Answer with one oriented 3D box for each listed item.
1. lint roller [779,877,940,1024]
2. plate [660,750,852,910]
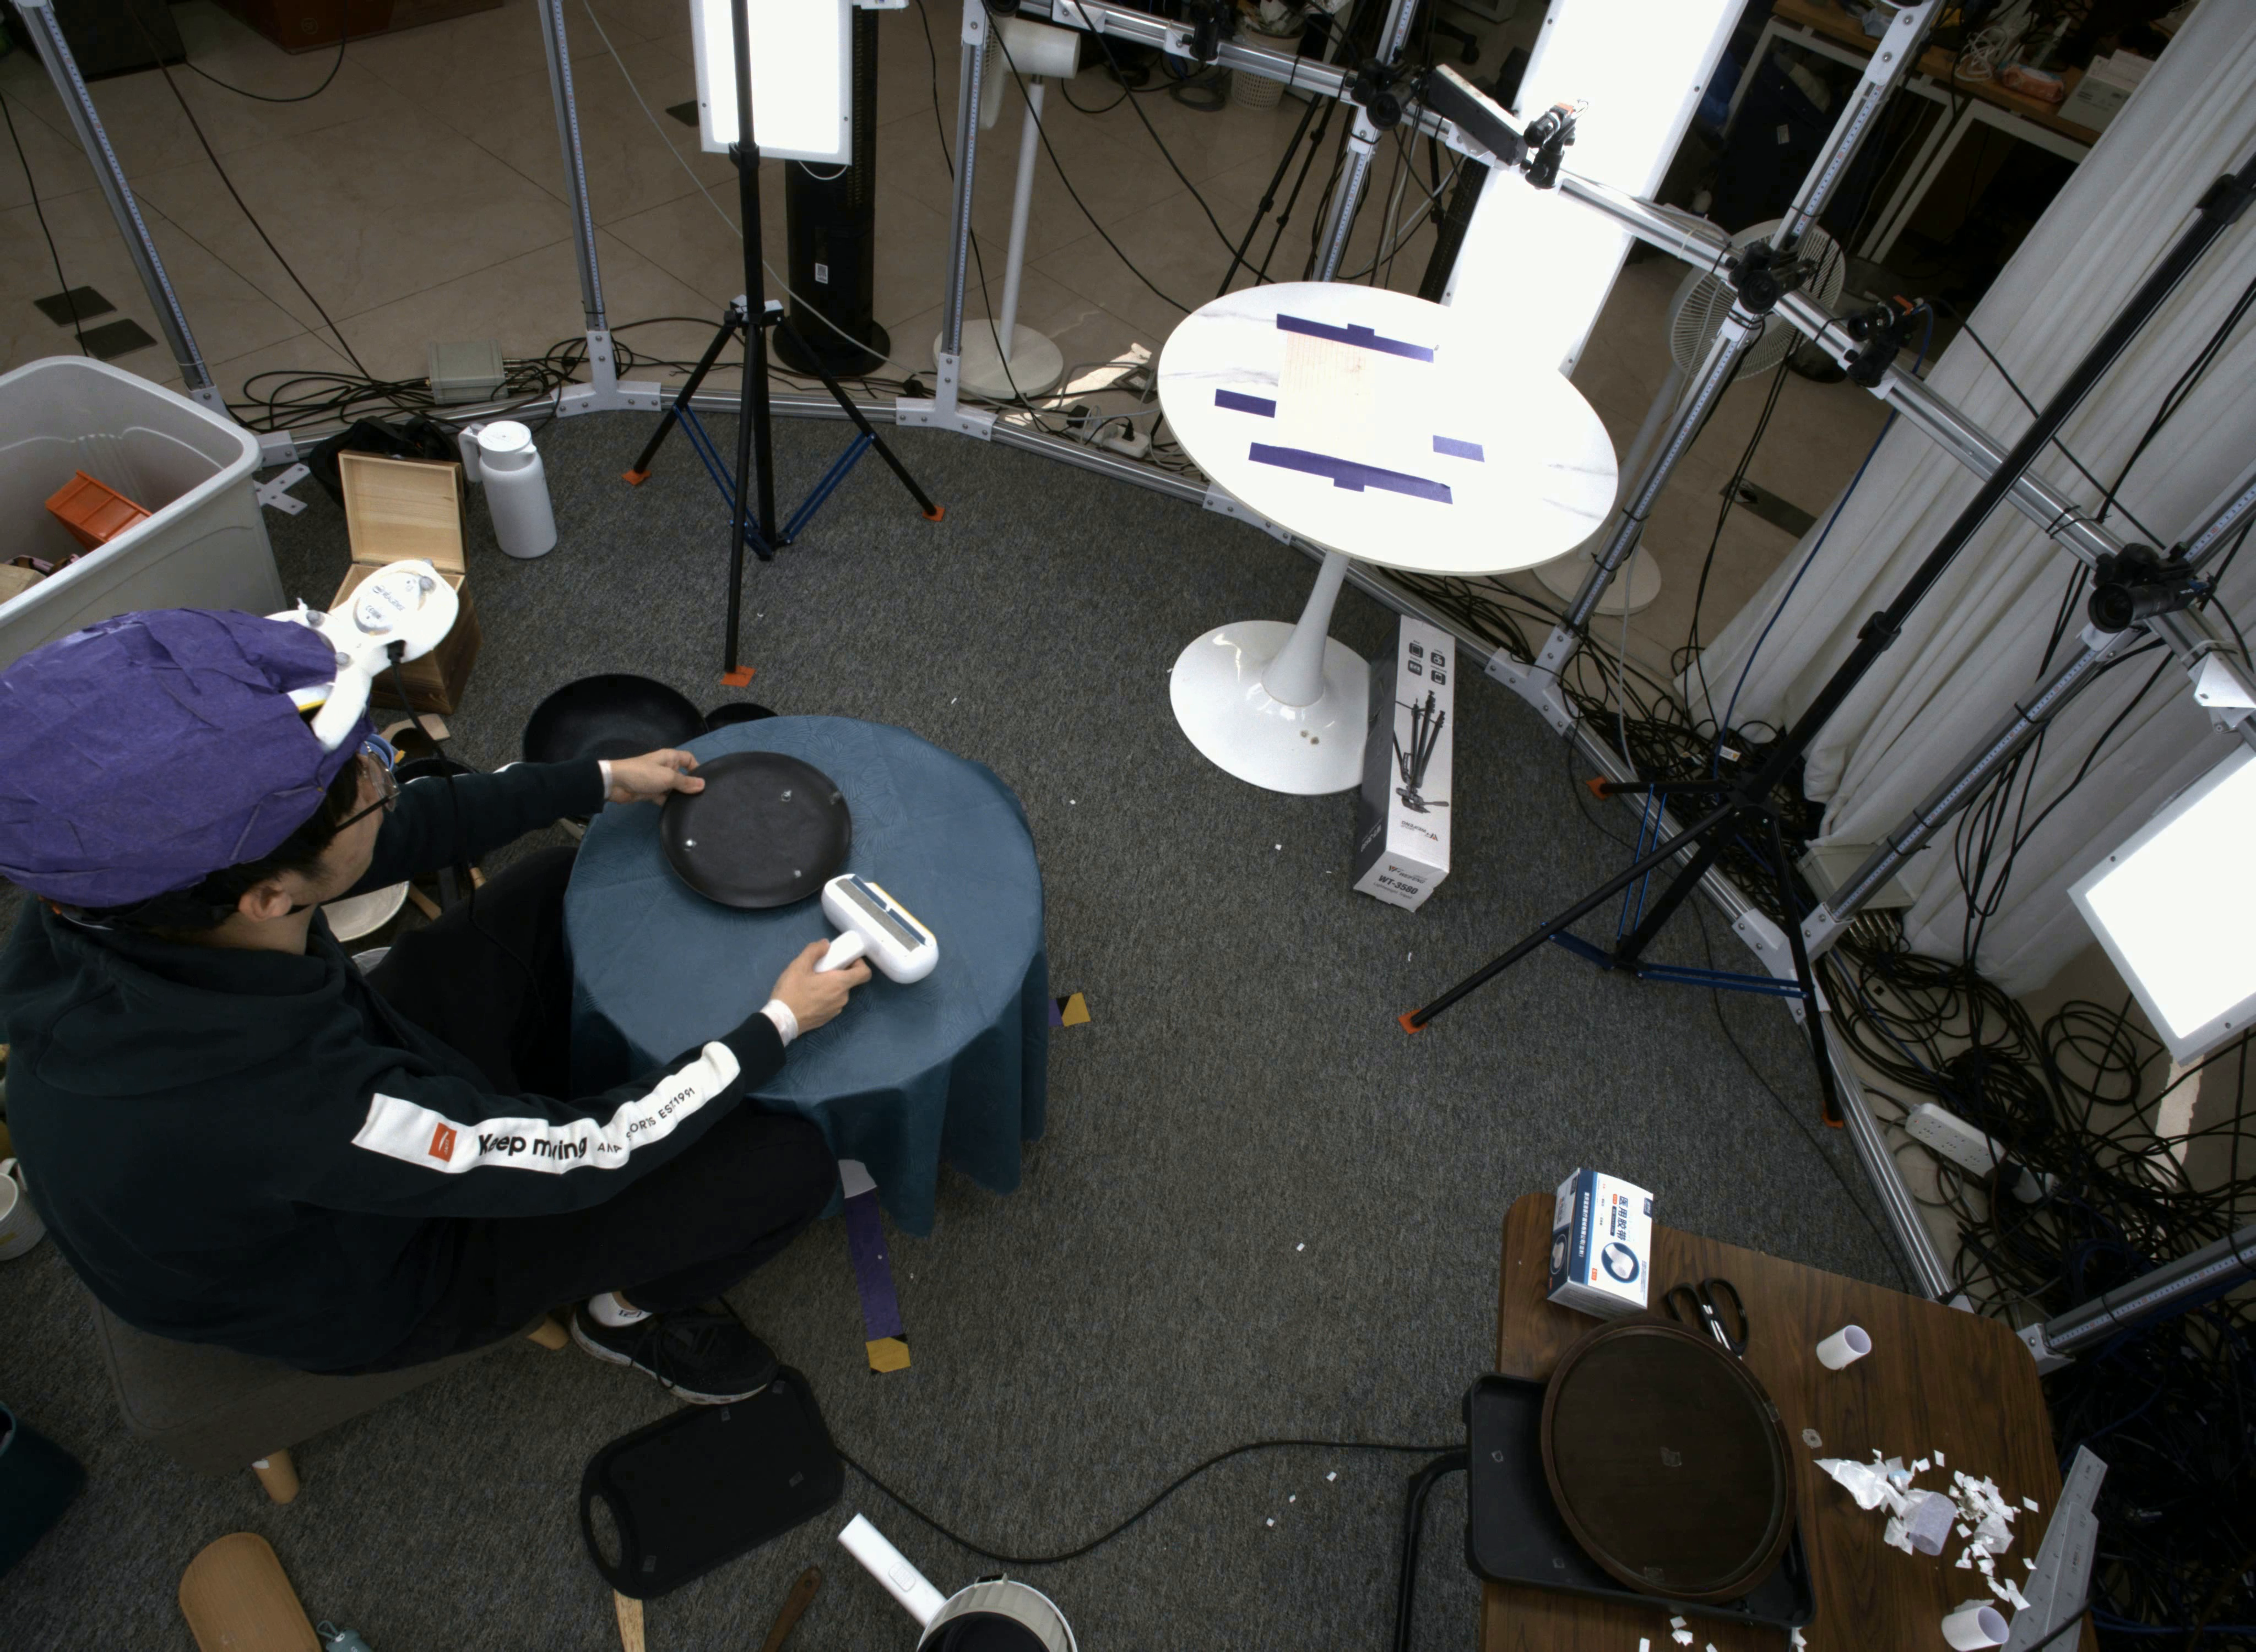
[{"bbox_3d":[-0.349,0.166,1.598,0.192,0.077,0.186,-34,55,-20],"label":"lint roller"},{"bbox_3d":[-0.483,0.005,1.686,0.245,0.024,0.240,9,57,-12],"label":"plate"}]
